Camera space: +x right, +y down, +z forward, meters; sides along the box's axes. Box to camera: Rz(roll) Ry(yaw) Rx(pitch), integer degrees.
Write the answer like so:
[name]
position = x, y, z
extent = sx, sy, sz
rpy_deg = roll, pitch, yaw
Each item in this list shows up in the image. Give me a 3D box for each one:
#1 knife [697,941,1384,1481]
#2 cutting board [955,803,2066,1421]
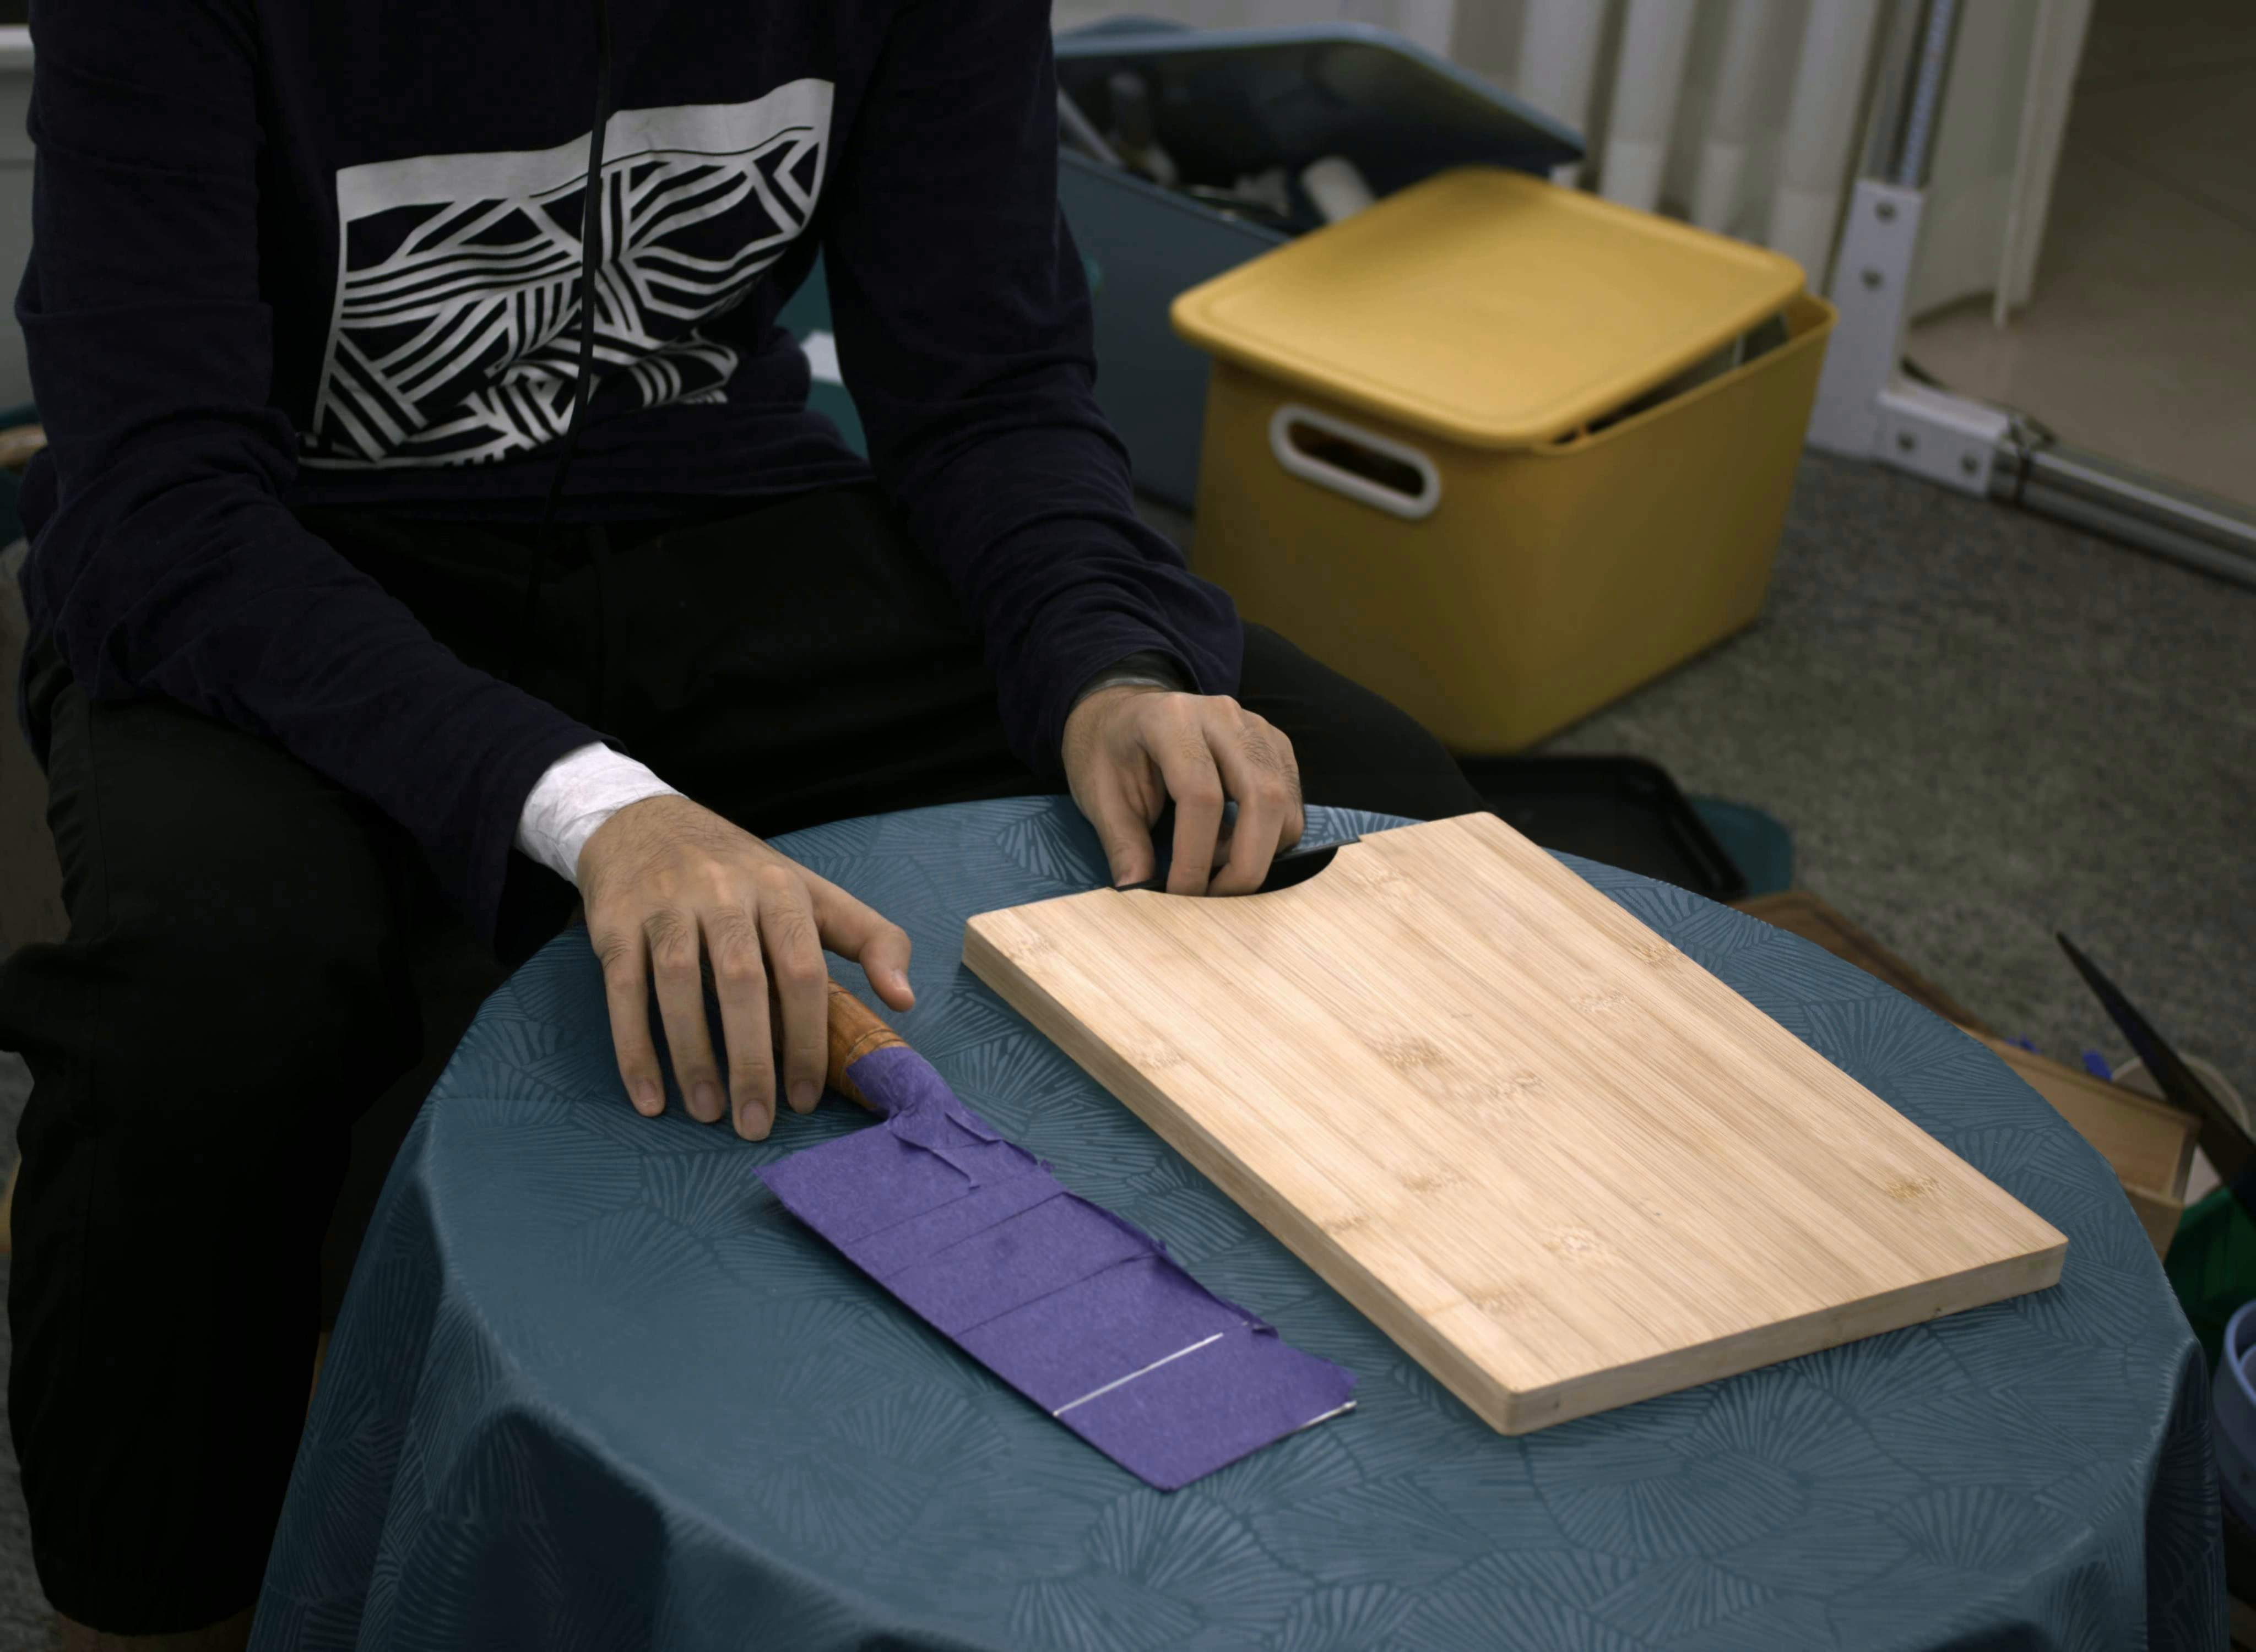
[knife]
position = -0.058, 0.123, 1.763
extent = 0.103, 0.032, 0.318
rpy_deg = -18, 36, -40
[cutting board]
position = 0.127, 0.093, 1.877
extent = 0.249, 0.023, 0.352
rpy_deg = -11, 31, -31
